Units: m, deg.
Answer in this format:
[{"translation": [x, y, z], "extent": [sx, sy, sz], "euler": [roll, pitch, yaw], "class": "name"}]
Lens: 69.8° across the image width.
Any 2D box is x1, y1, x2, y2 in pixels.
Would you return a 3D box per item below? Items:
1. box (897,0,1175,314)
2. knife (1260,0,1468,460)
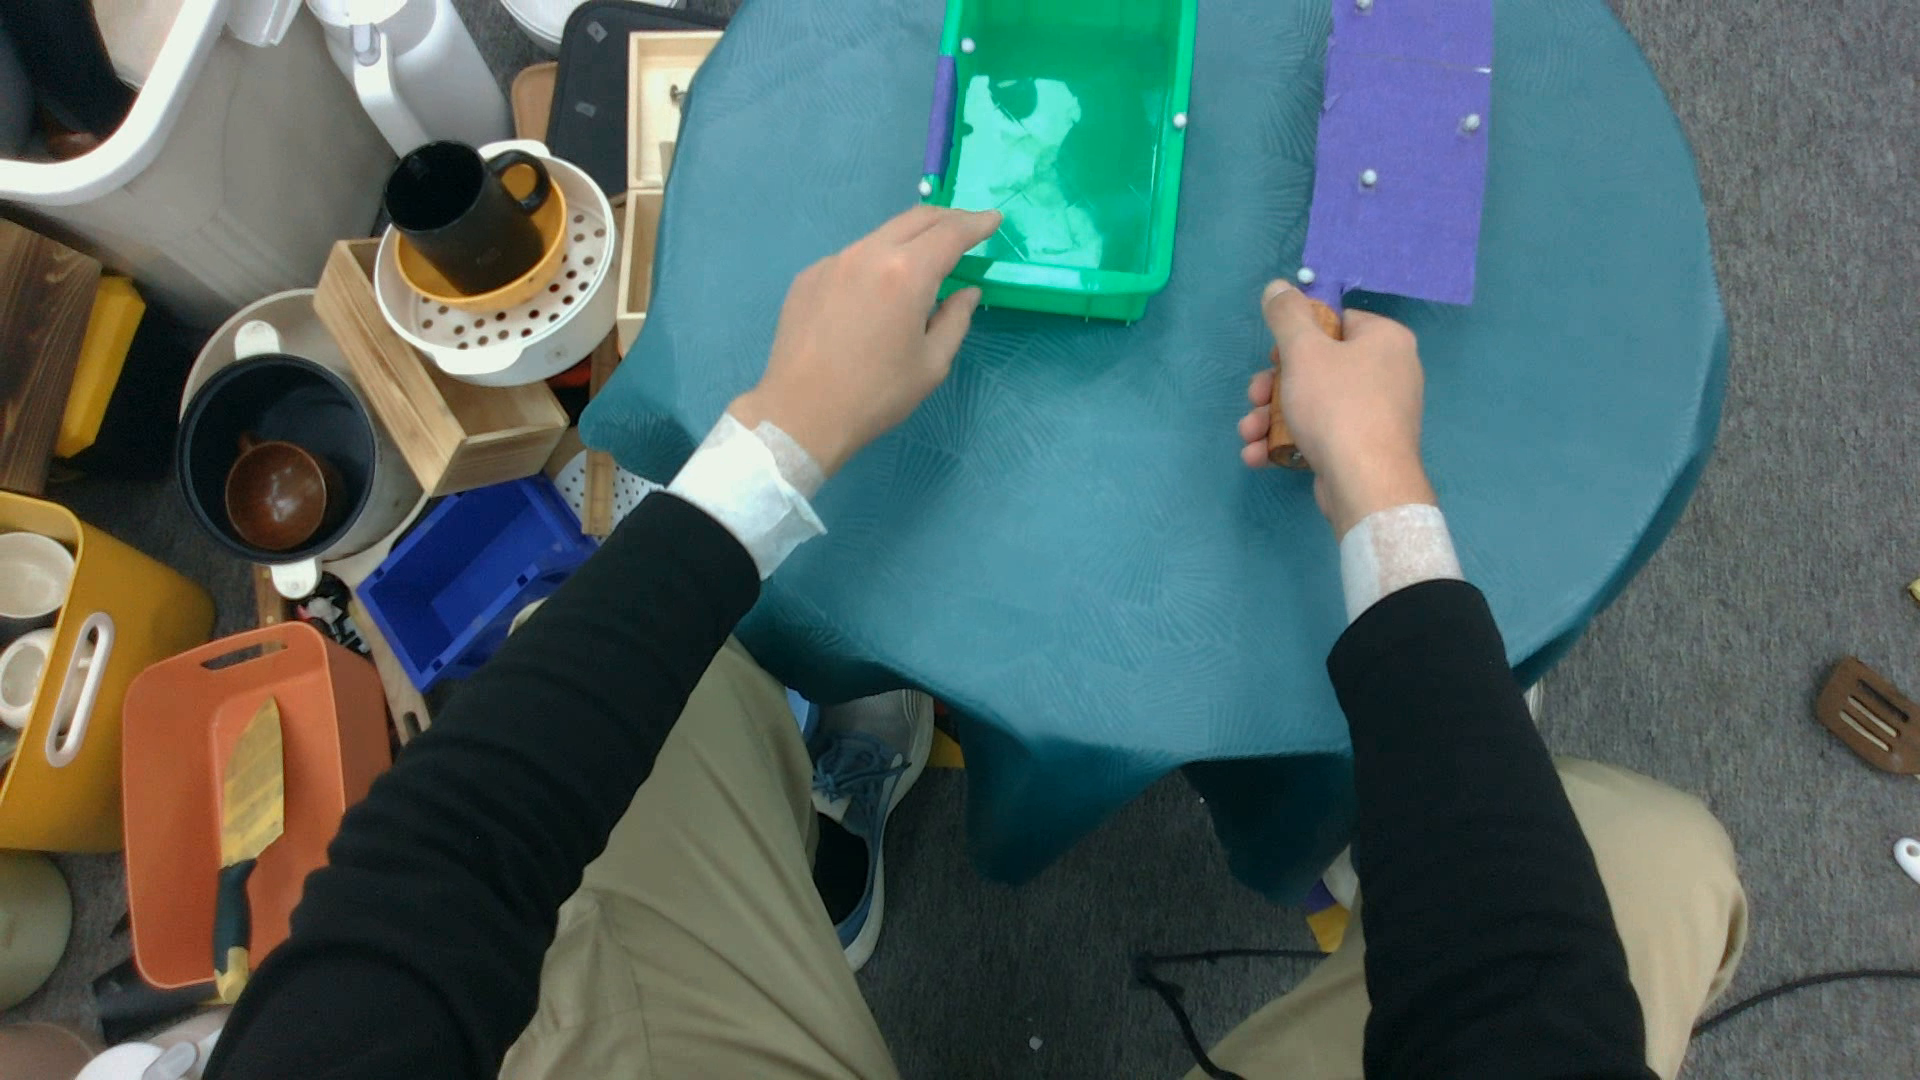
[{"translation": [0.044, -0.227, 0.774], "extent": [0.138, 0.065, 0.211], "euler": [5, 76, 3], "class": "box"}, {"translation": [0.221, -0.185, 0.748], "extent": [0.104, 0.032, 0.316], "euler": [9, 69, 4], "class": "knife"}]
